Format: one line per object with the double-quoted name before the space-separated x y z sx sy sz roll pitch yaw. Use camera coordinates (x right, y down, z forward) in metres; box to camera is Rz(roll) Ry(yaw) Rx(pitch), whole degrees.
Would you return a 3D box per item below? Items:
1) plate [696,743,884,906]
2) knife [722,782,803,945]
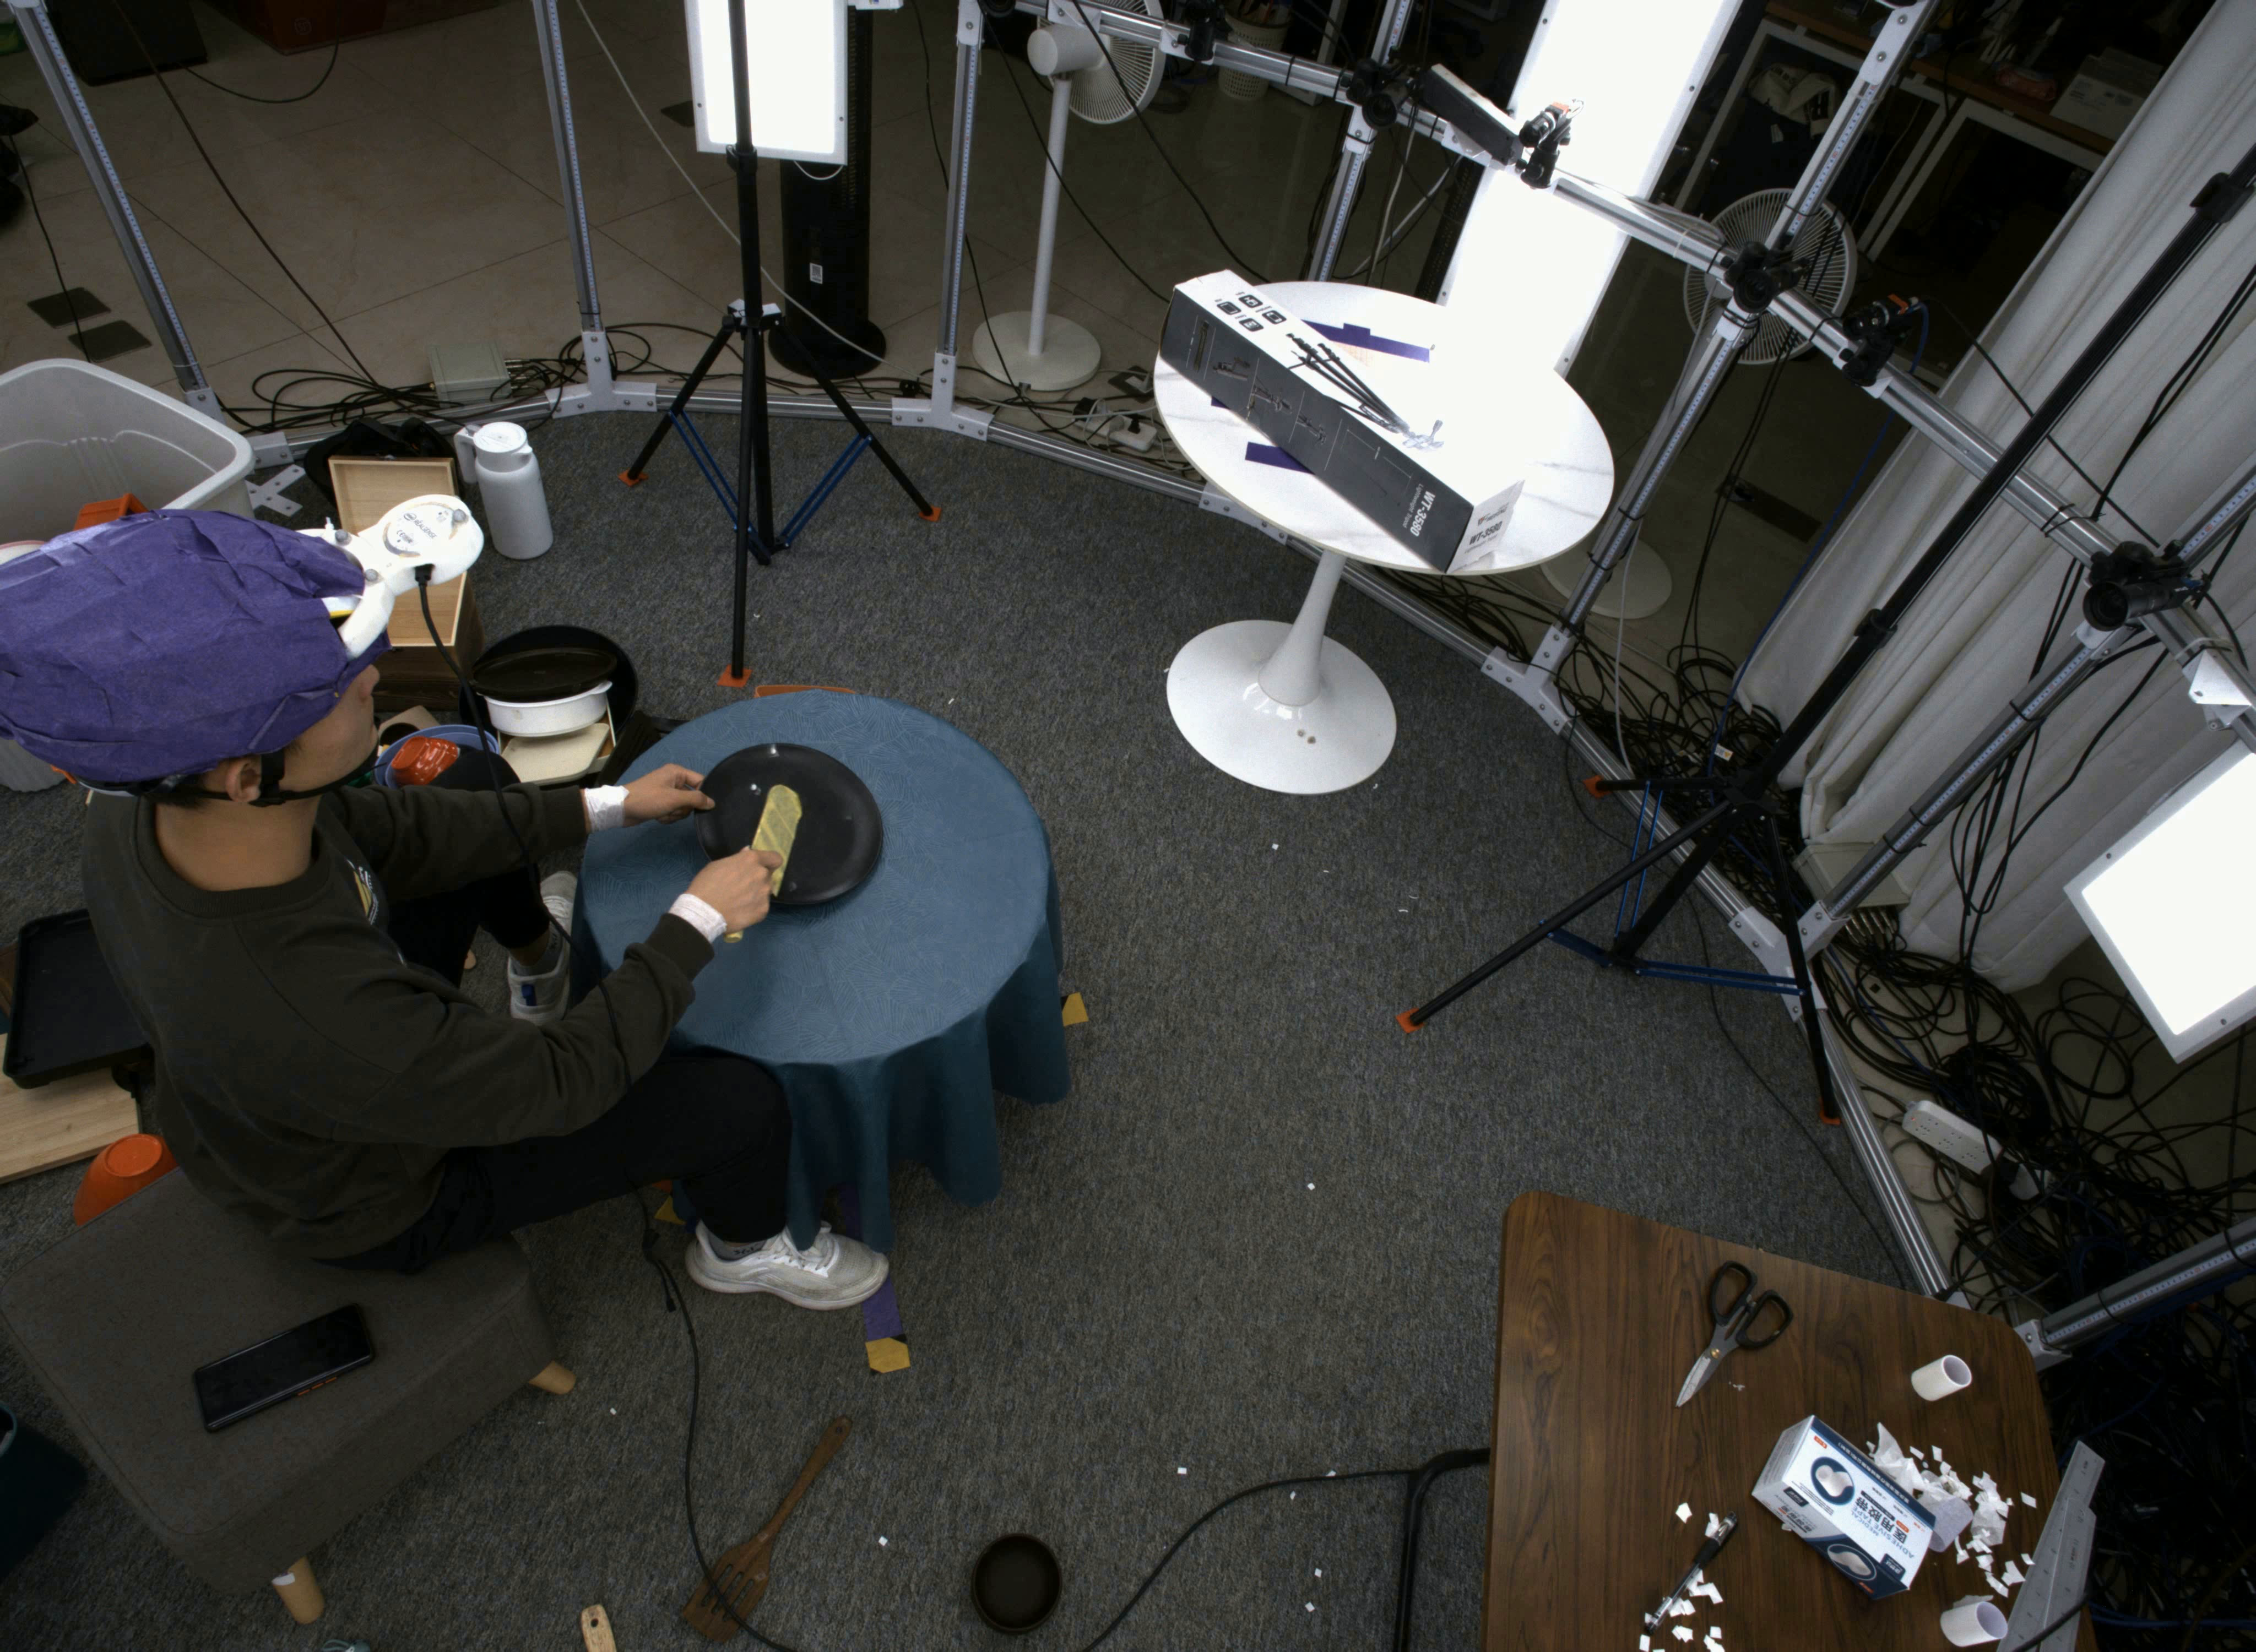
"plate" -0.439 -0.002 1.690 0.247 0.023 0.240 16 54 -21
"knife" -0.445 0.045 1.597 0.026 0.084 0.284 -11 39 16
